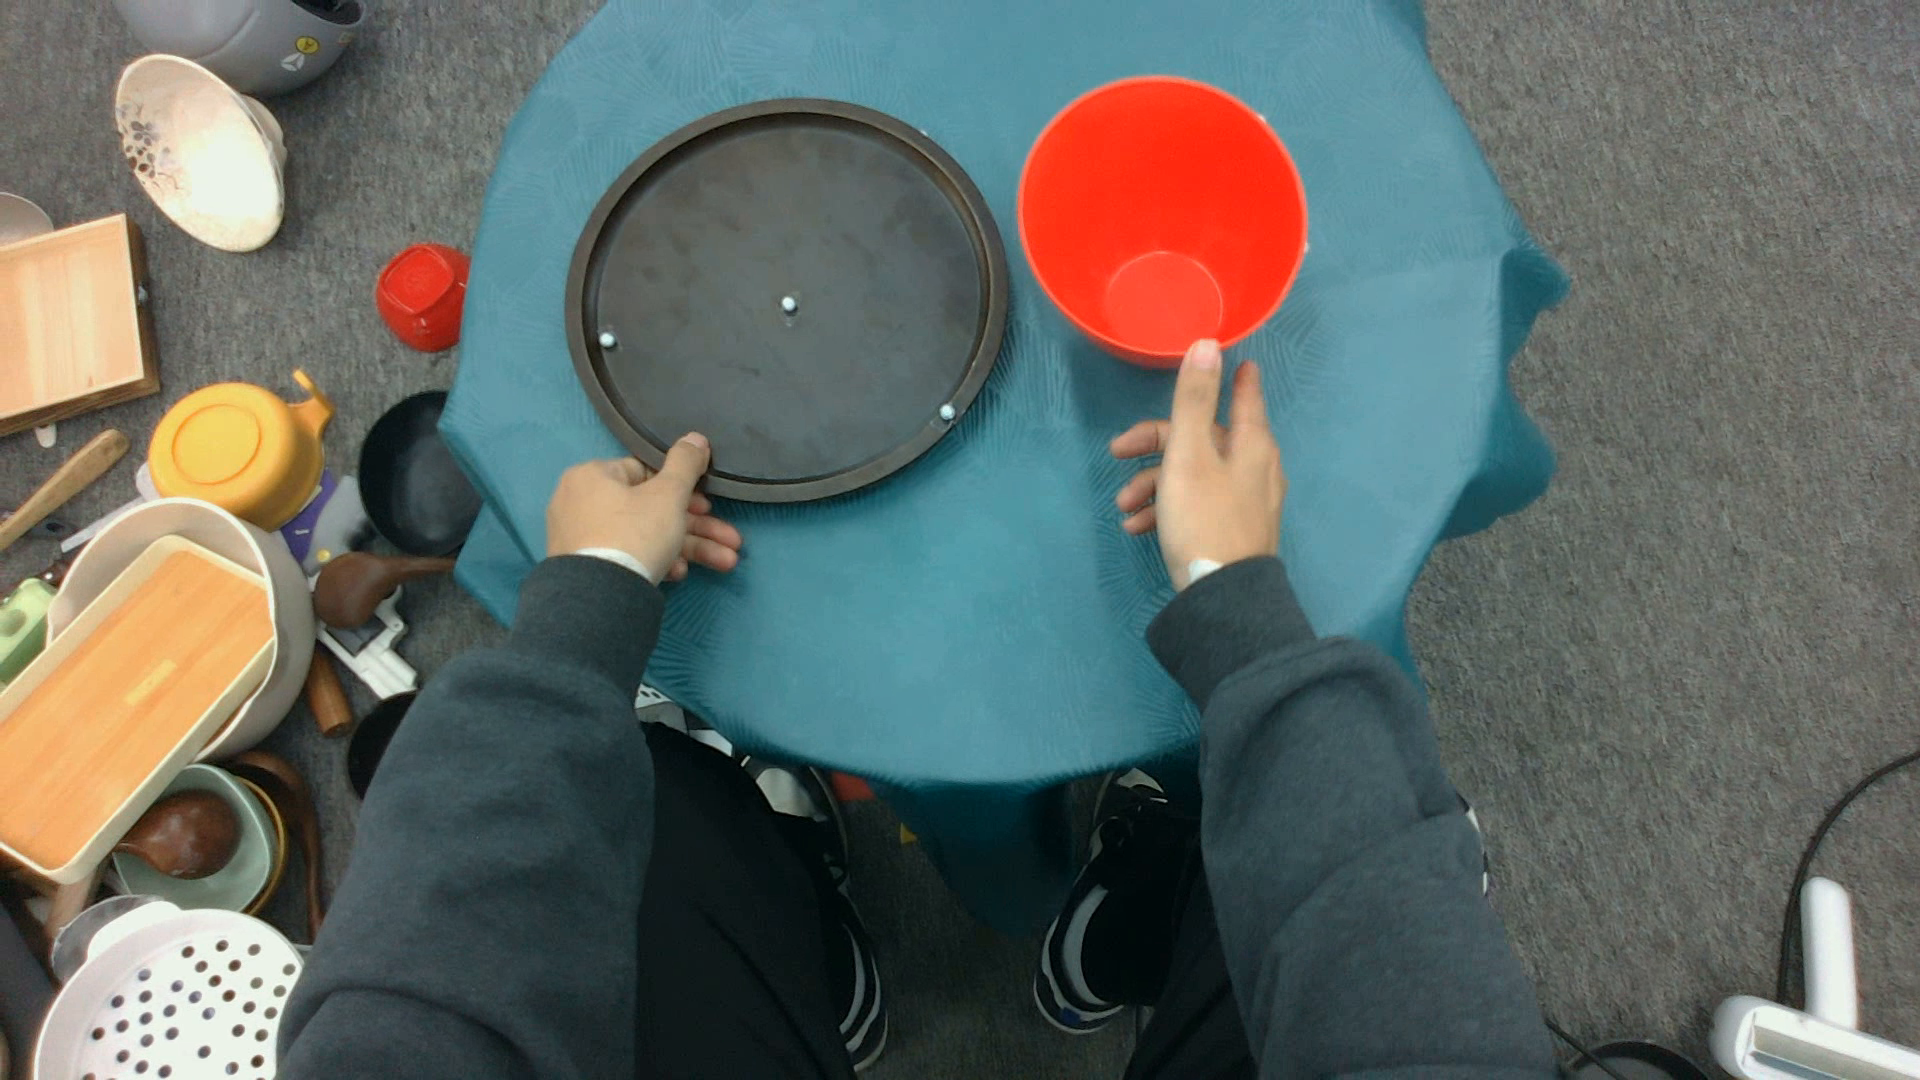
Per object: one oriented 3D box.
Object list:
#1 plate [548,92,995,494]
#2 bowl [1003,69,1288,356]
[{"bbox_3d":[-0.107,-0.144,0.785,0.255,0.029,0.255,0,72,0],"label":"plate"},{"bbox_3d":[0.097,-0.162,0.742,0.148,0.104,0.148,0,71,1],"label":"bowl"}]
